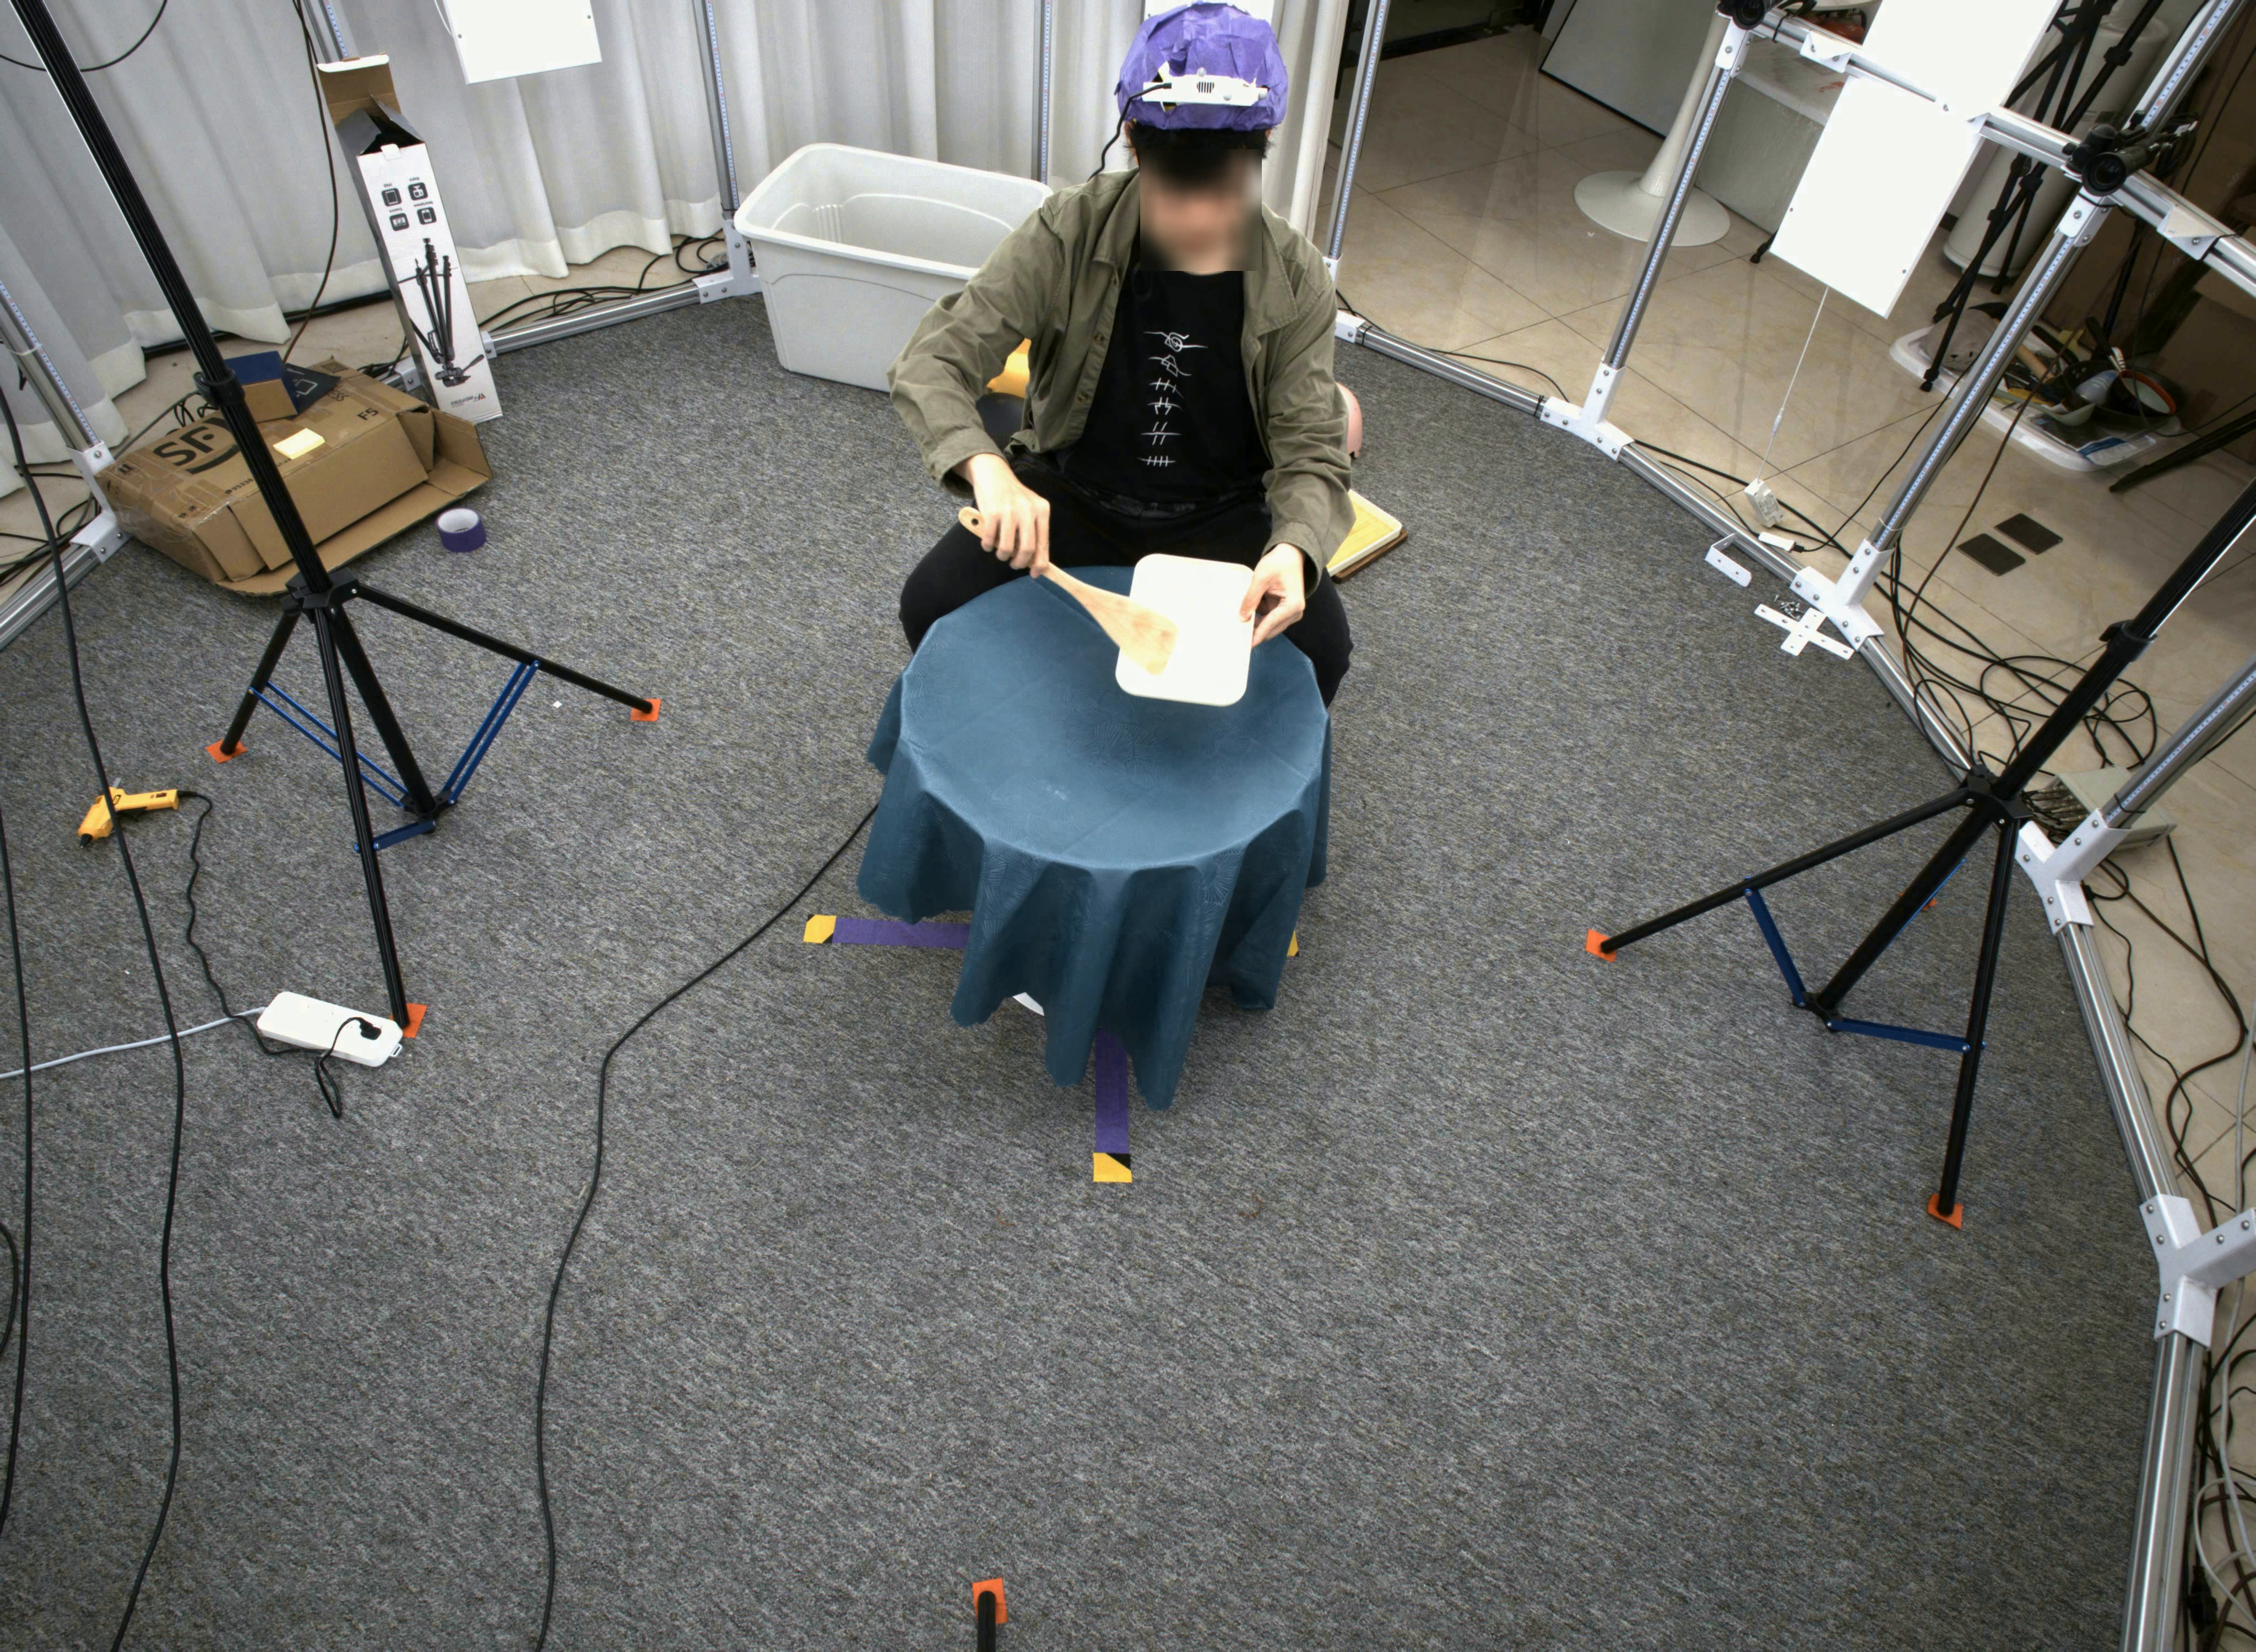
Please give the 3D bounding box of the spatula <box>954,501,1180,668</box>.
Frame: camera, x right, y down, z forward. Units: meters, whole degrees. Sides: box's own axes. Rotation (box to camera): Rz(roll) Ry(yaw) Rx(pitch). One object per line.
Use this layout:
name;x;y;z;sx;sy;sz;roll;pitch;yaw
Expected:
spatula;-0.077;-0.315;1.631;0.326;0.078;0.017;31;33;-7

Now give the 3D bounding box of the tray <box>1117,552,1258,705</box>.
tray;0.081;-0.262;1.700;0.171;0.017;0.245;8;57;2
